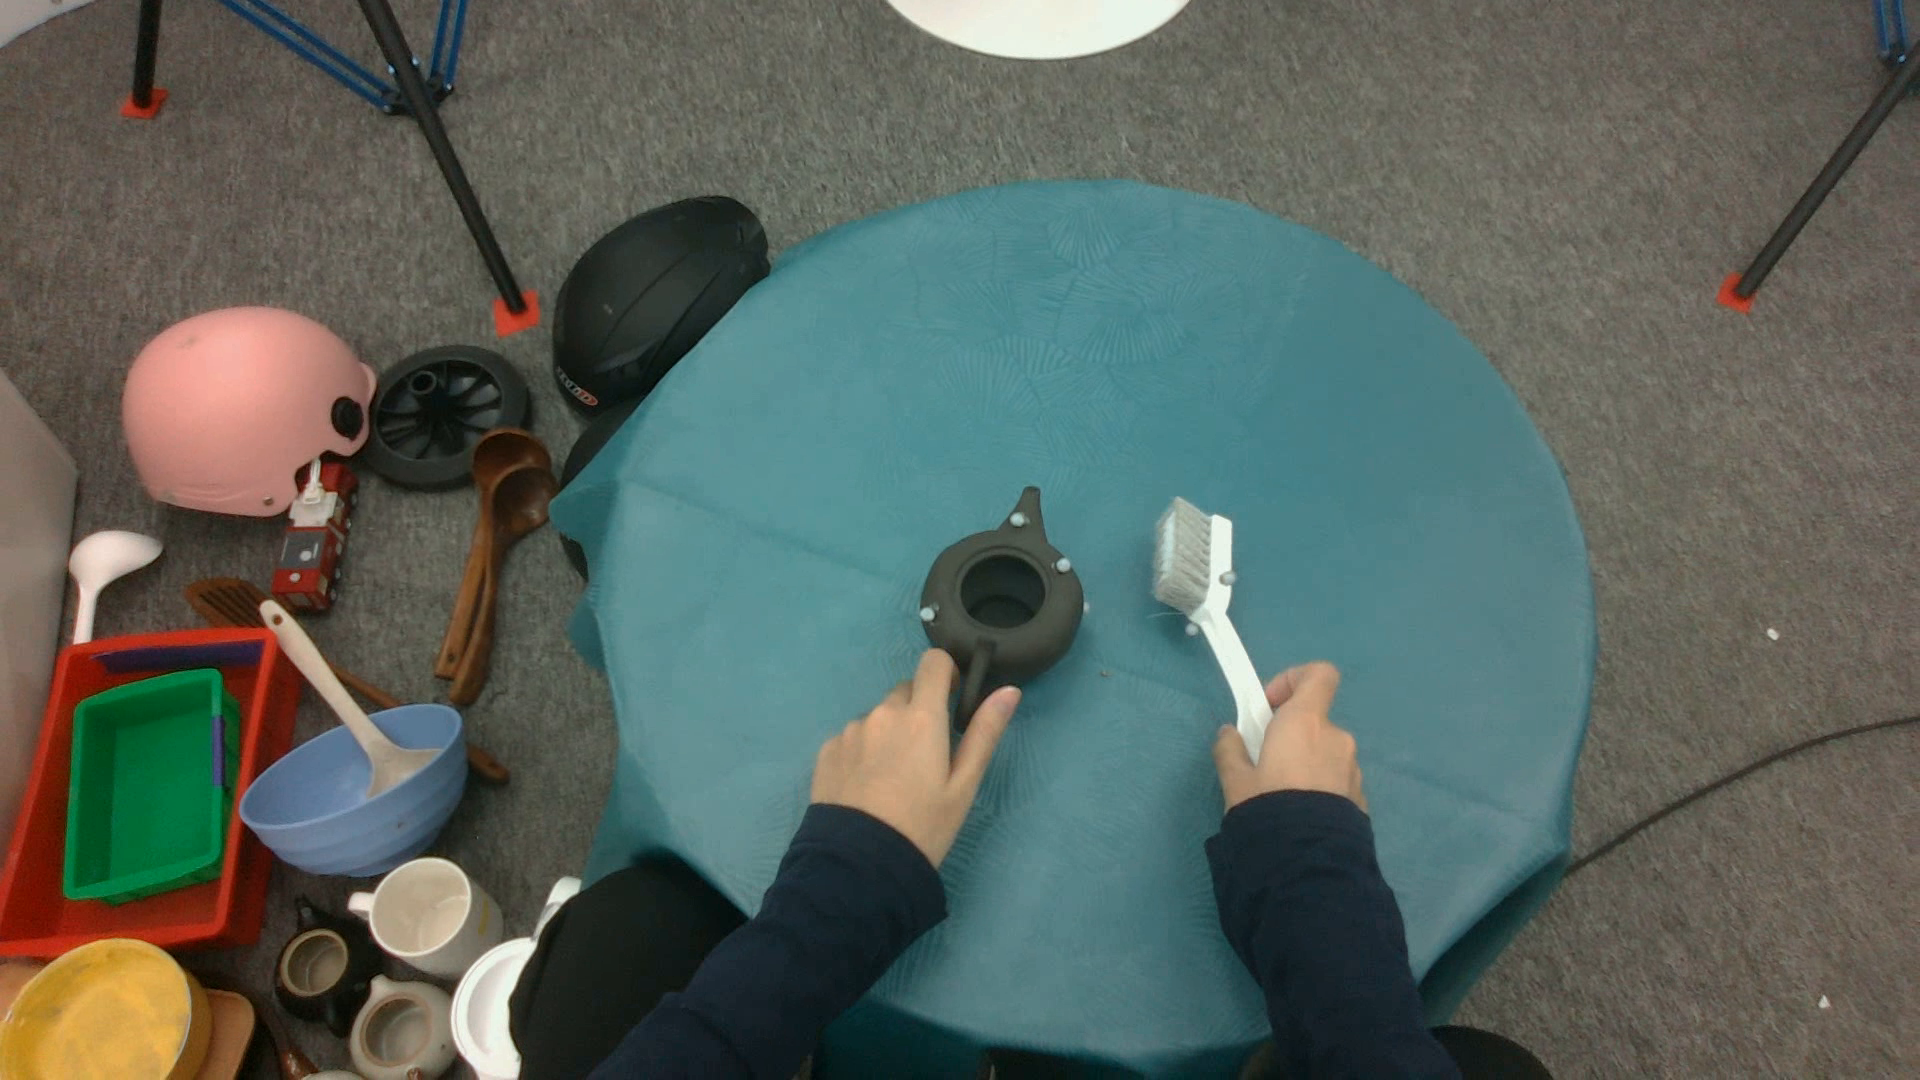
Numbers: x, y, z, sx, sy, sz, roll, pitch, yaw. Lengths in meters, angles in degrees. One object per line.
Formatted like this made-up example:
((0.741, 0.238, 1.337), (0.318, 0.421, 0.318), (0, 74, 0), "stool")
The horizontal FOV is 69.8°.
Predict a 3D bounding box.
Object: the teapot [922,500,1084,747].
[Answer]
((0.024, 0.049, 0.796), (0.092, 0.064, 0.155), (15, 62, 8), "teapot")

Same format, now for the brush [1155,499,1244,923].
((0.133, 0.087, 0.765), (0.050, 0.034, 0.244), (28, 54, -33), "brush")
